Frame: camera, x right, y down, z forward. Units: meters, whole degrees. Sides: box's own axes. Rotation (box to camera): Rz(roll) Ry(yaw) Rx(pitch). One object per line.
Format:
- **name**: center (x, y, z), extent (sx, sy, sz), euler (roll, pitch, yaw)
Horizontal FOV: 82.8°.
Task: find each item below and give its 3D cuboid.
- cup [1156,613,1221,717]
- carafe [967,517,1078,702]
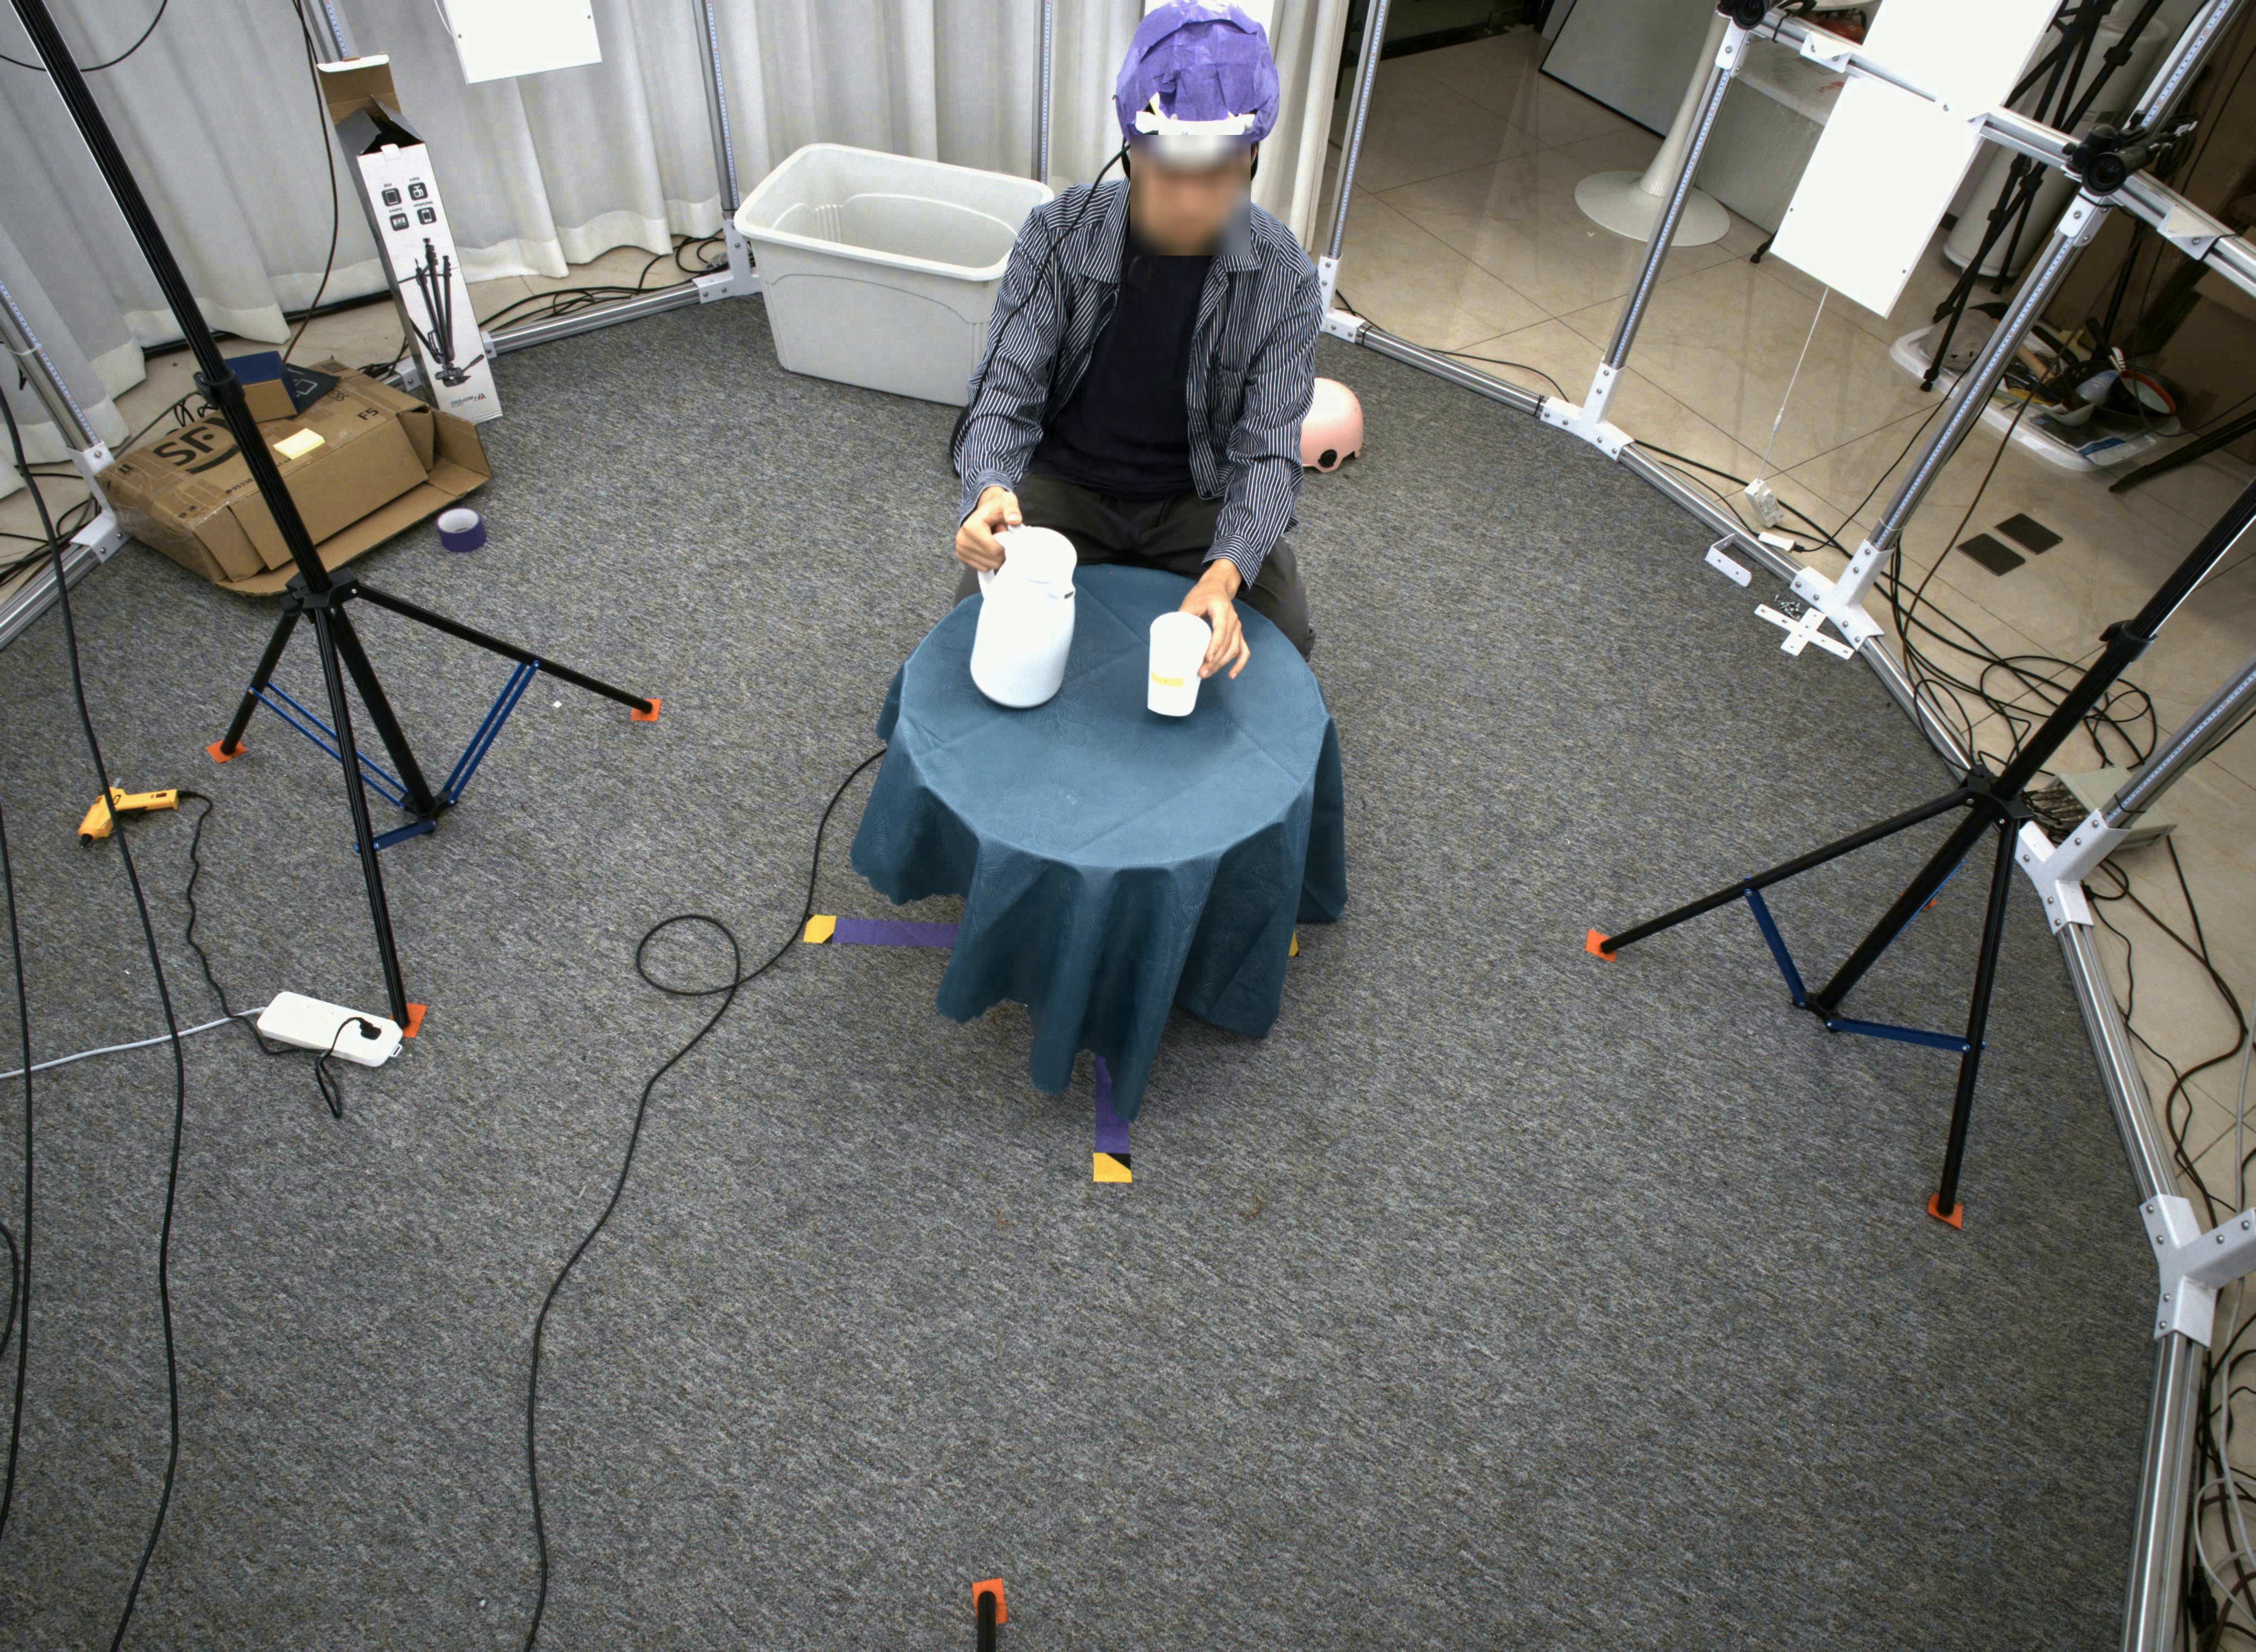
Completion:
- **cup**: center (0.078, -0.216, 1.743), extent (0.081, 0.122, 0.084), euler (3, 48, -4)
- **carafe**: center (-0.148, -0.300, 1.715), extent (0.169, 0.244, 0.134), euler (43, 59, 13)
